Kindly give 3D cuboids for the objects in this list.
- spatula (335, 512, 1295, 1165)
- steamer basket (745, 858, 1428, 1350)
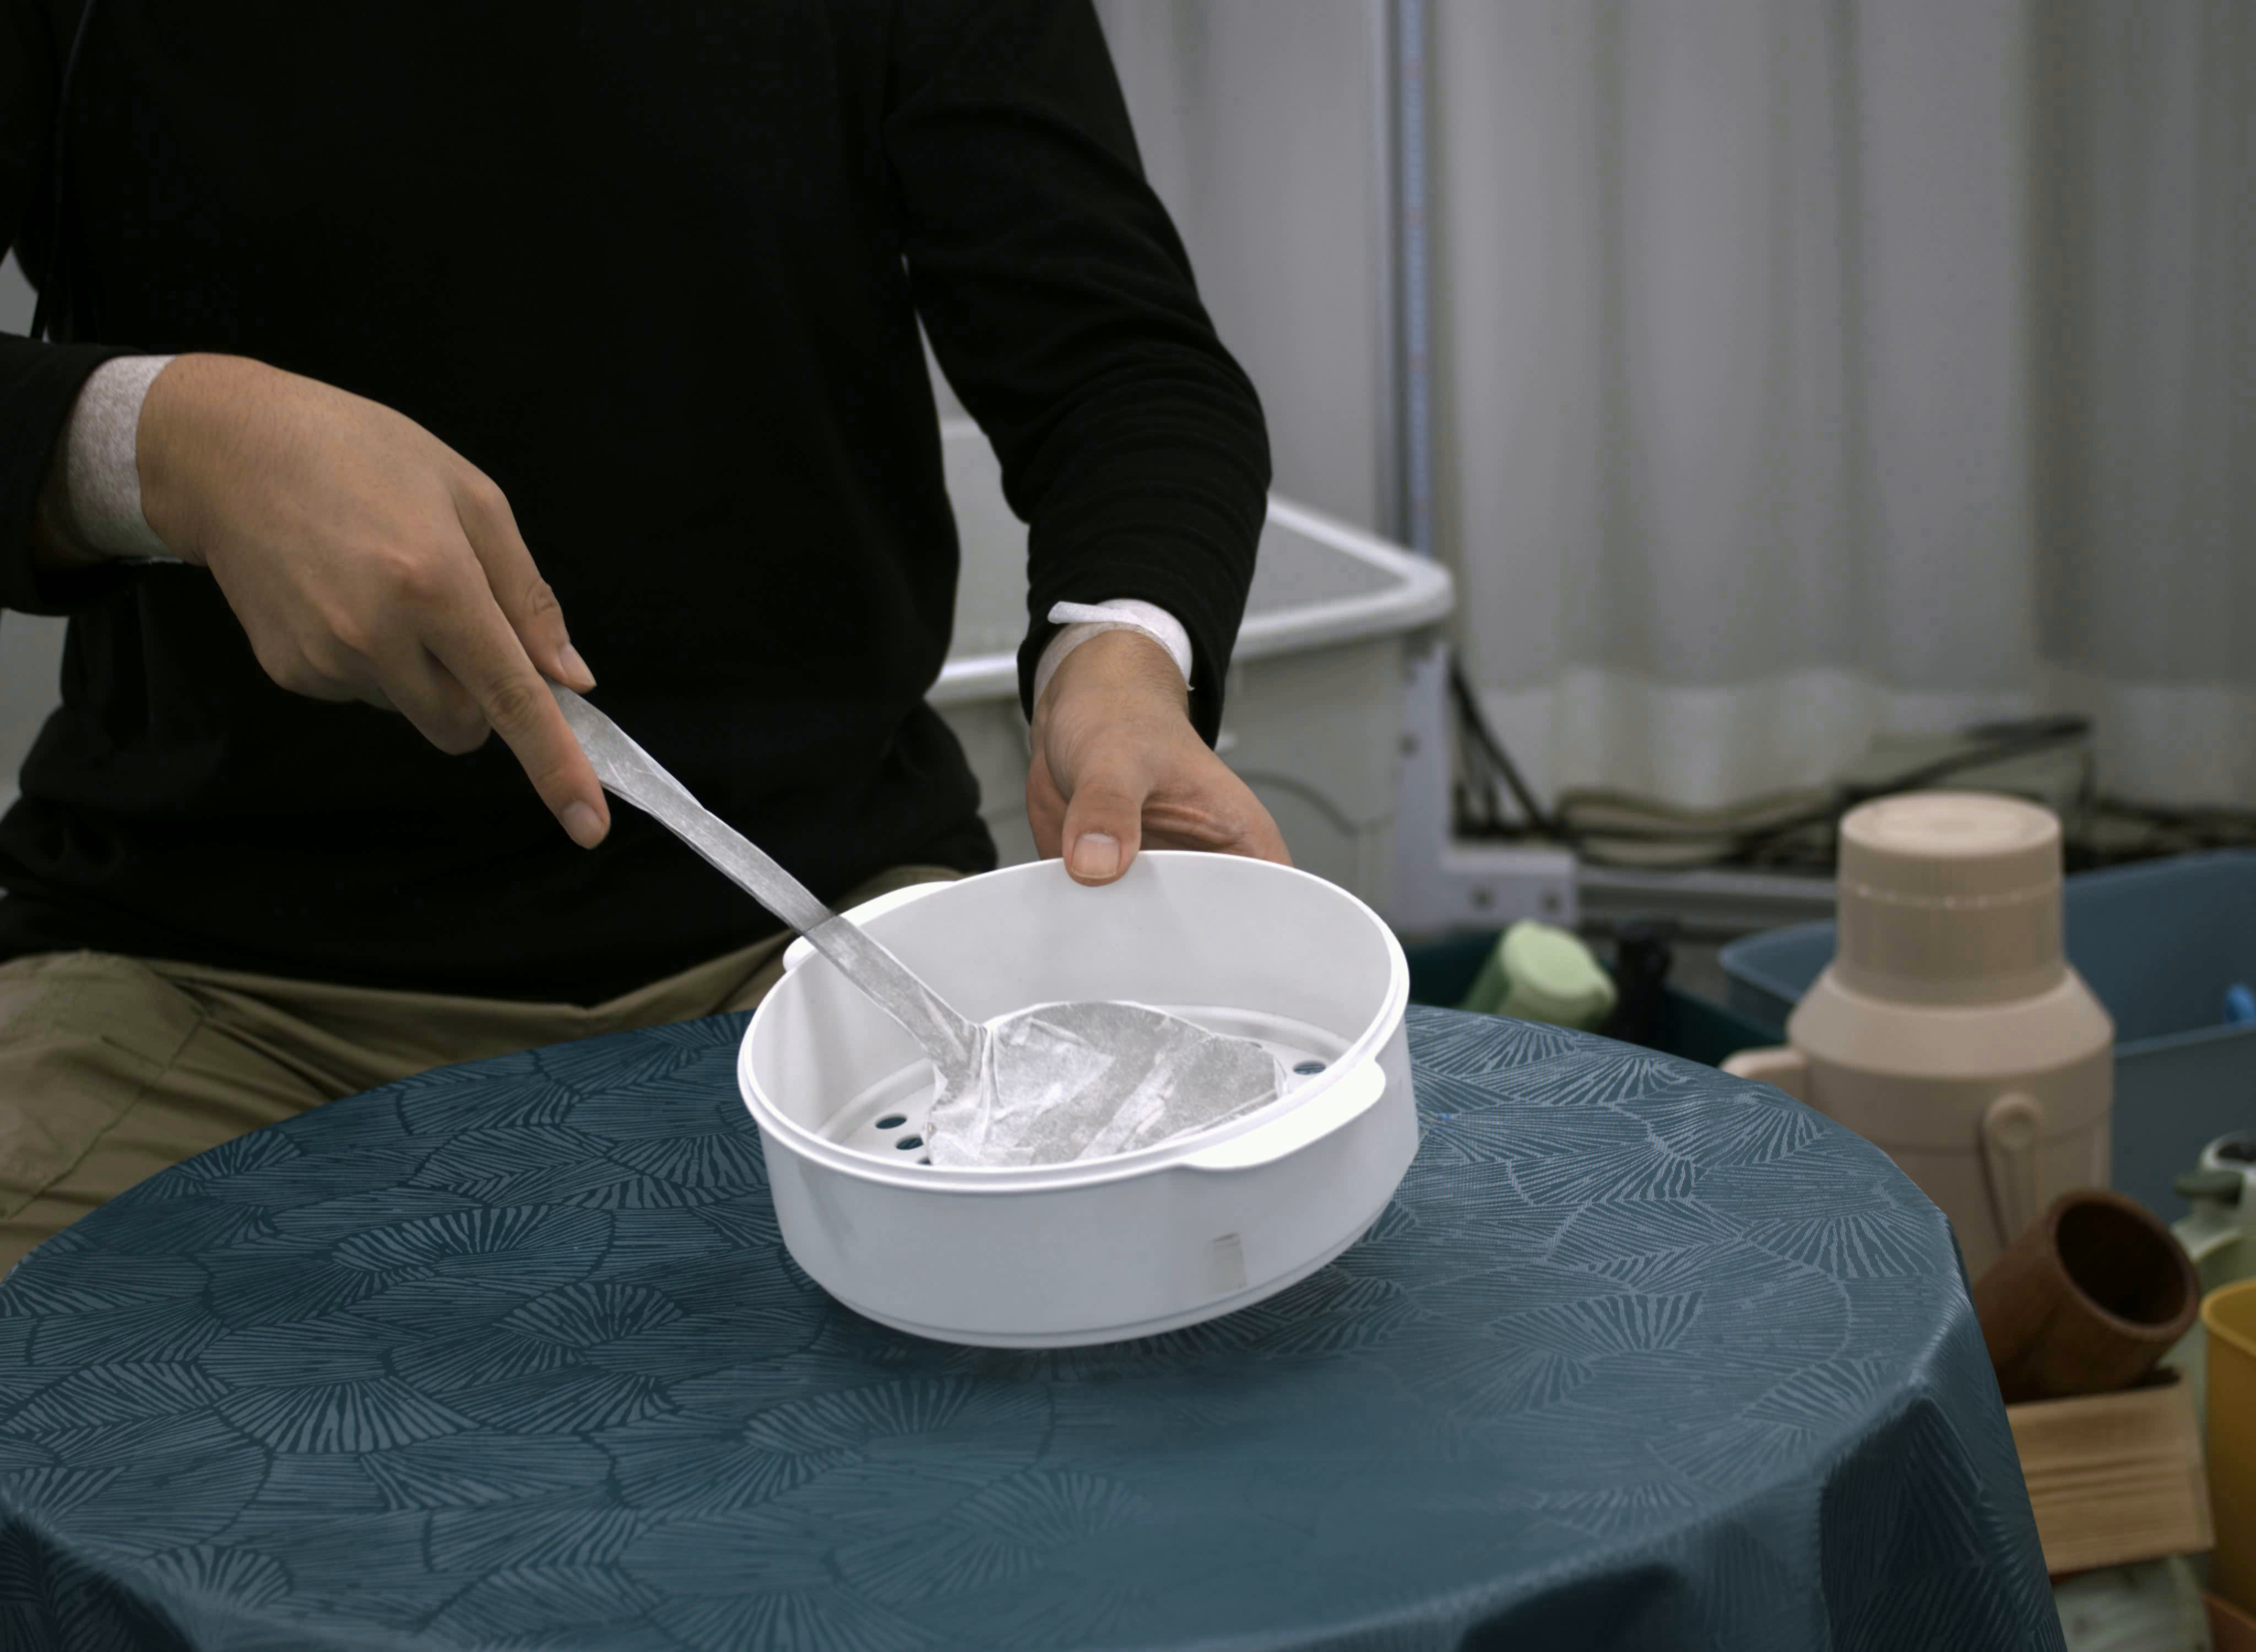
[{"bbox_3d":[-0.112,0.008,1.651,0.366,0.044,0.099,38,65,14],"label":"spatula"},{"bbox_3d":[-0.010,0.082,1.616,0.202,0.068,0.232,-24,29,-31],"label":"steamer basket"}]
